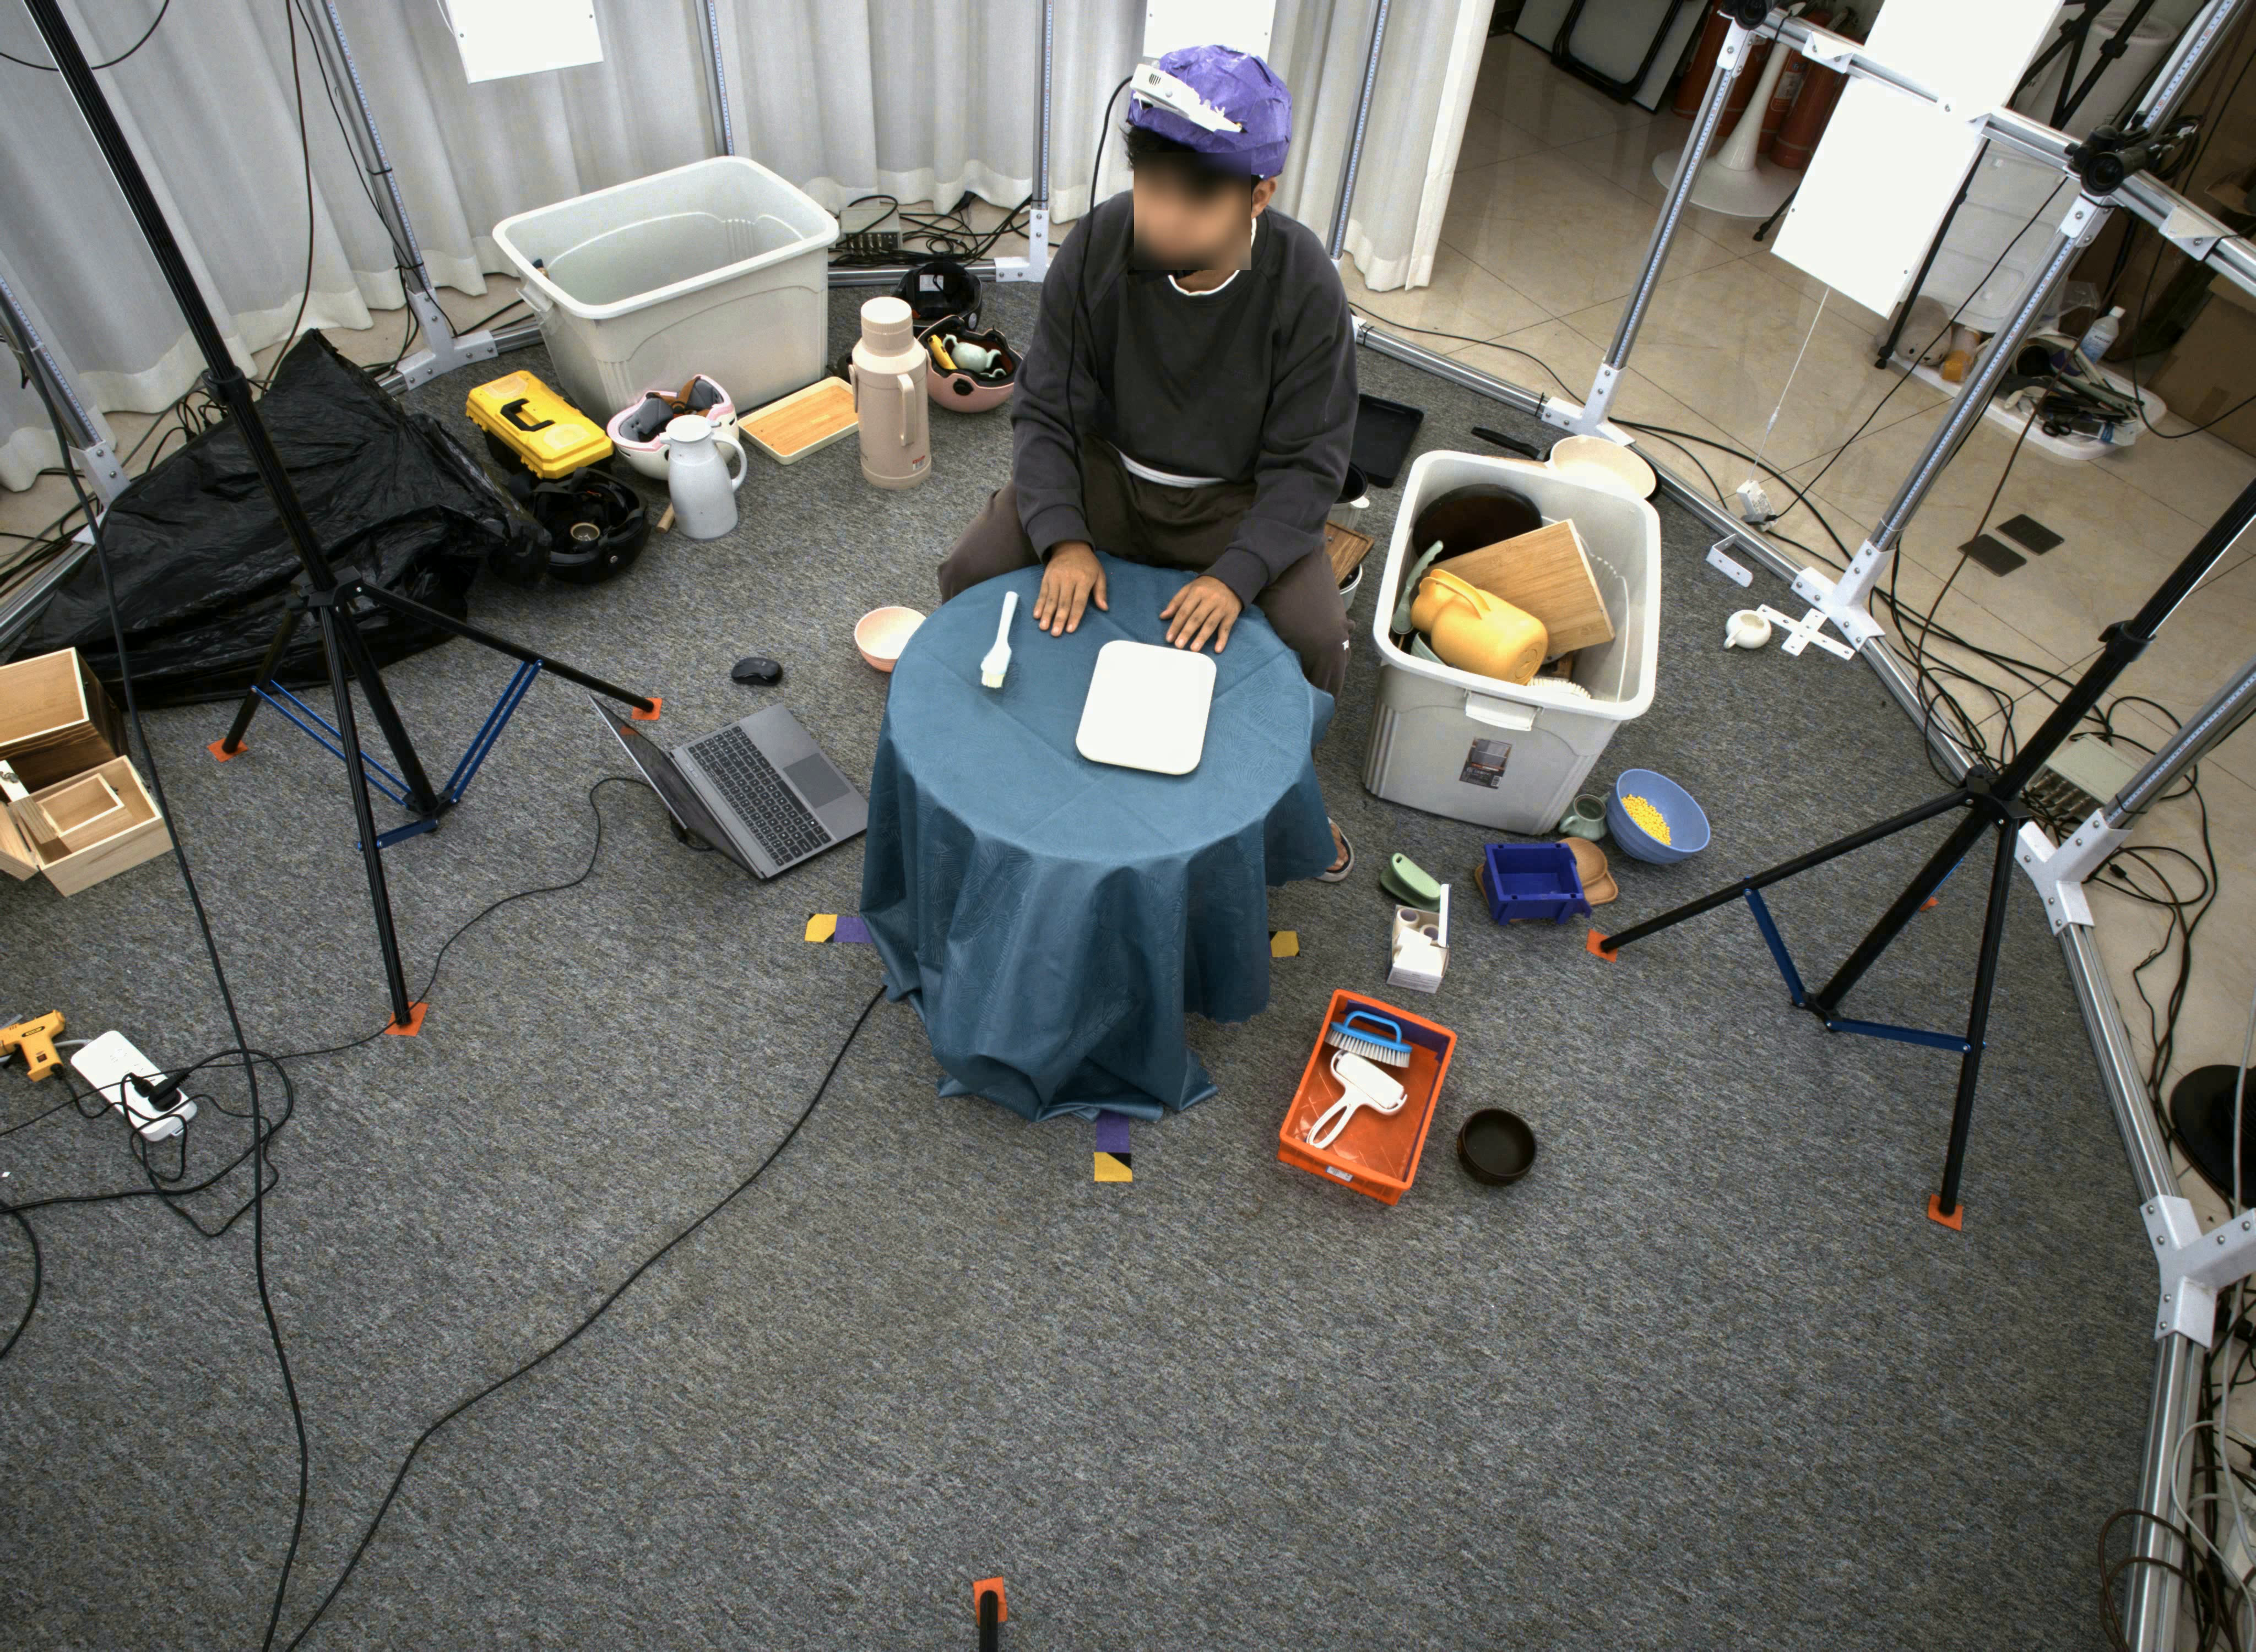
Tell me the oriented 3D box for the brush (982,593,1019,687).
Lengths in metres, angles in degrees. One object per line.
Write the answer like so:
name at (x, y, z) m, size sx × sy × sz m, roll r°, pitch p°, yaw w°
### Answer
brush at (-0.182, -0.274, 1.869) m, size 0.038 × 0.048 × 0.234 m, roll 9°, pitch 40°, yaw -5°

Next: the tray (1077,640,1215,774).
tray at (0.028, -0.168, 1.801) m, size 0.171 × 0.017 × 0.245 m, roll 10°, pitch 49°, yaw 3°
